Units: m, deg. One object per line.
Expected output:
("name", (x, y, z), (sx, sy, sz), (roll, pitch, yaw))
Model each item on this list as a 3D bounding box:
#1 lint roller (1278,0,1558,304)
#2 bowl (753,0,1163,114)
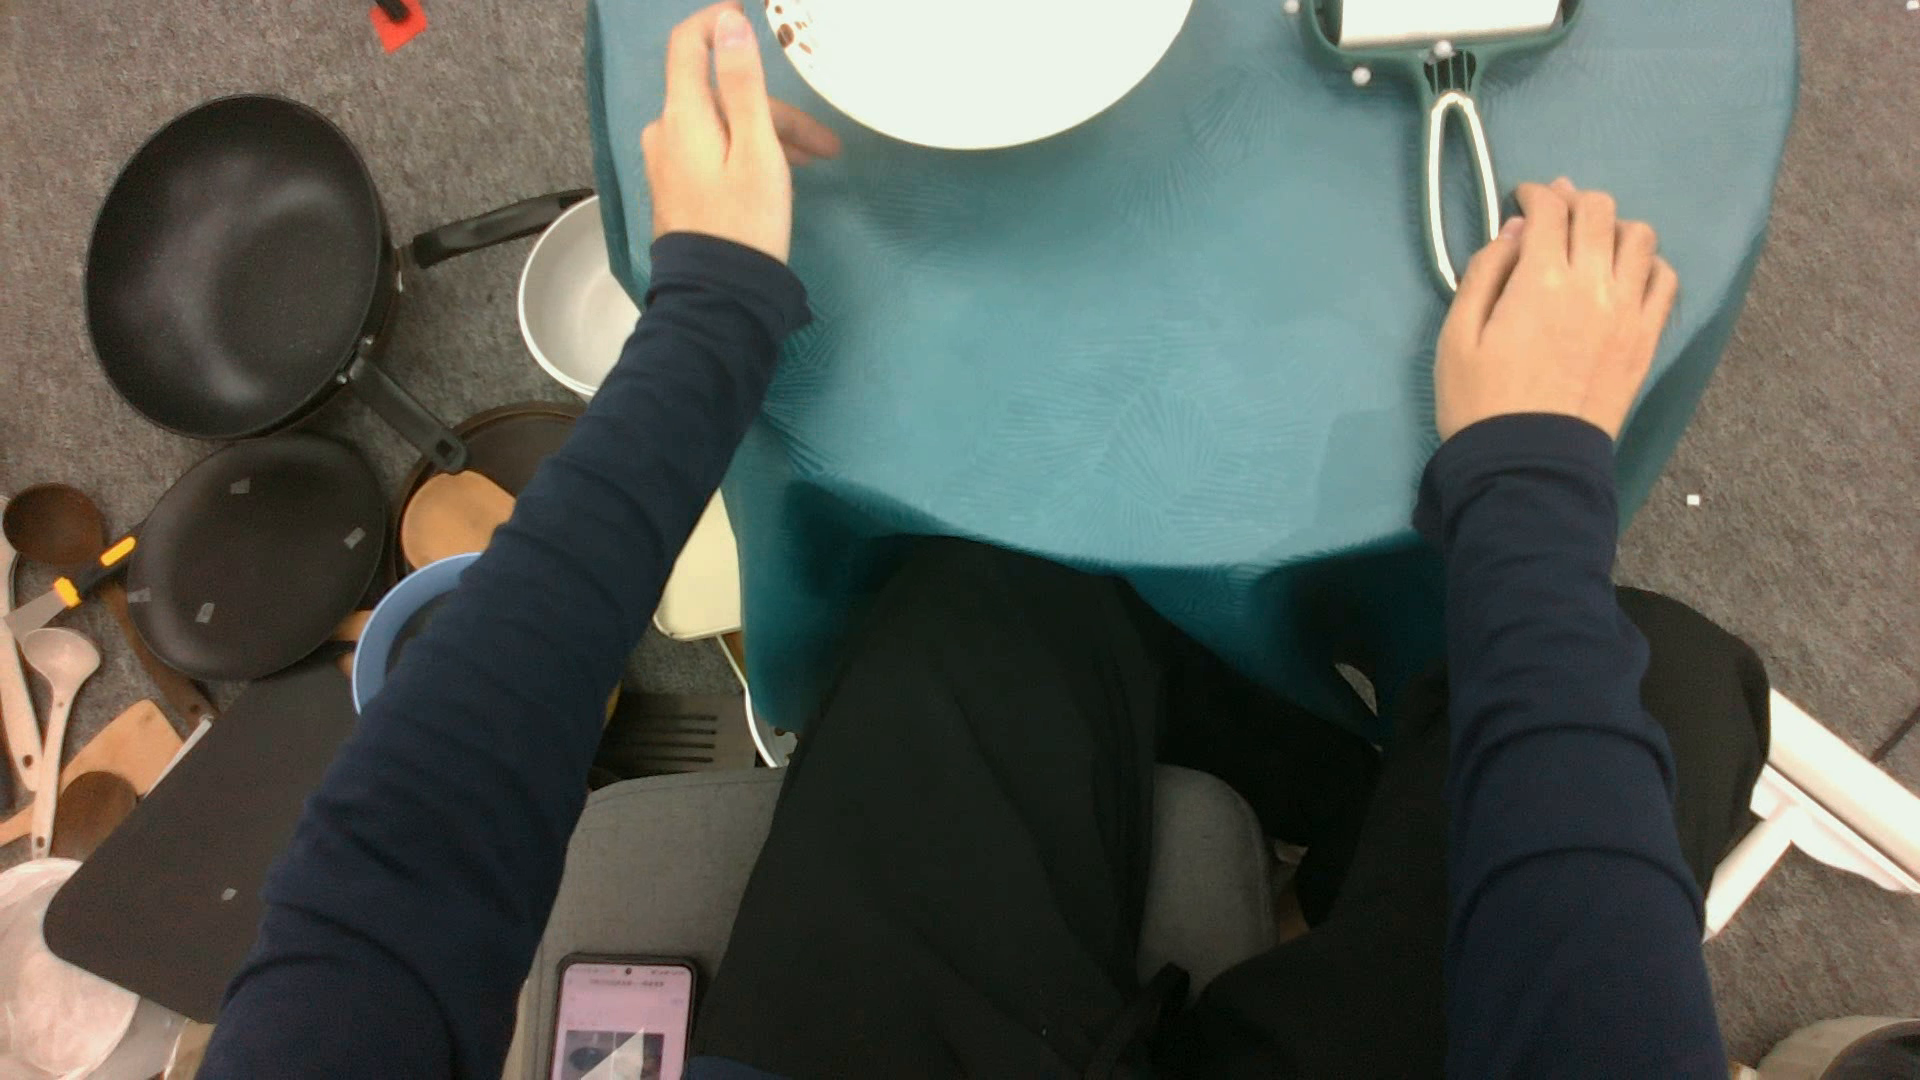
("lint roller", (0.224, -0.205, 0.656), (0.134, 0.048, 0.180), (-4, 79, 3))
("bowl", (0.002, -0.271, 0.665), (0.204, 0.078, 0.204), (-1, 71, 3))
